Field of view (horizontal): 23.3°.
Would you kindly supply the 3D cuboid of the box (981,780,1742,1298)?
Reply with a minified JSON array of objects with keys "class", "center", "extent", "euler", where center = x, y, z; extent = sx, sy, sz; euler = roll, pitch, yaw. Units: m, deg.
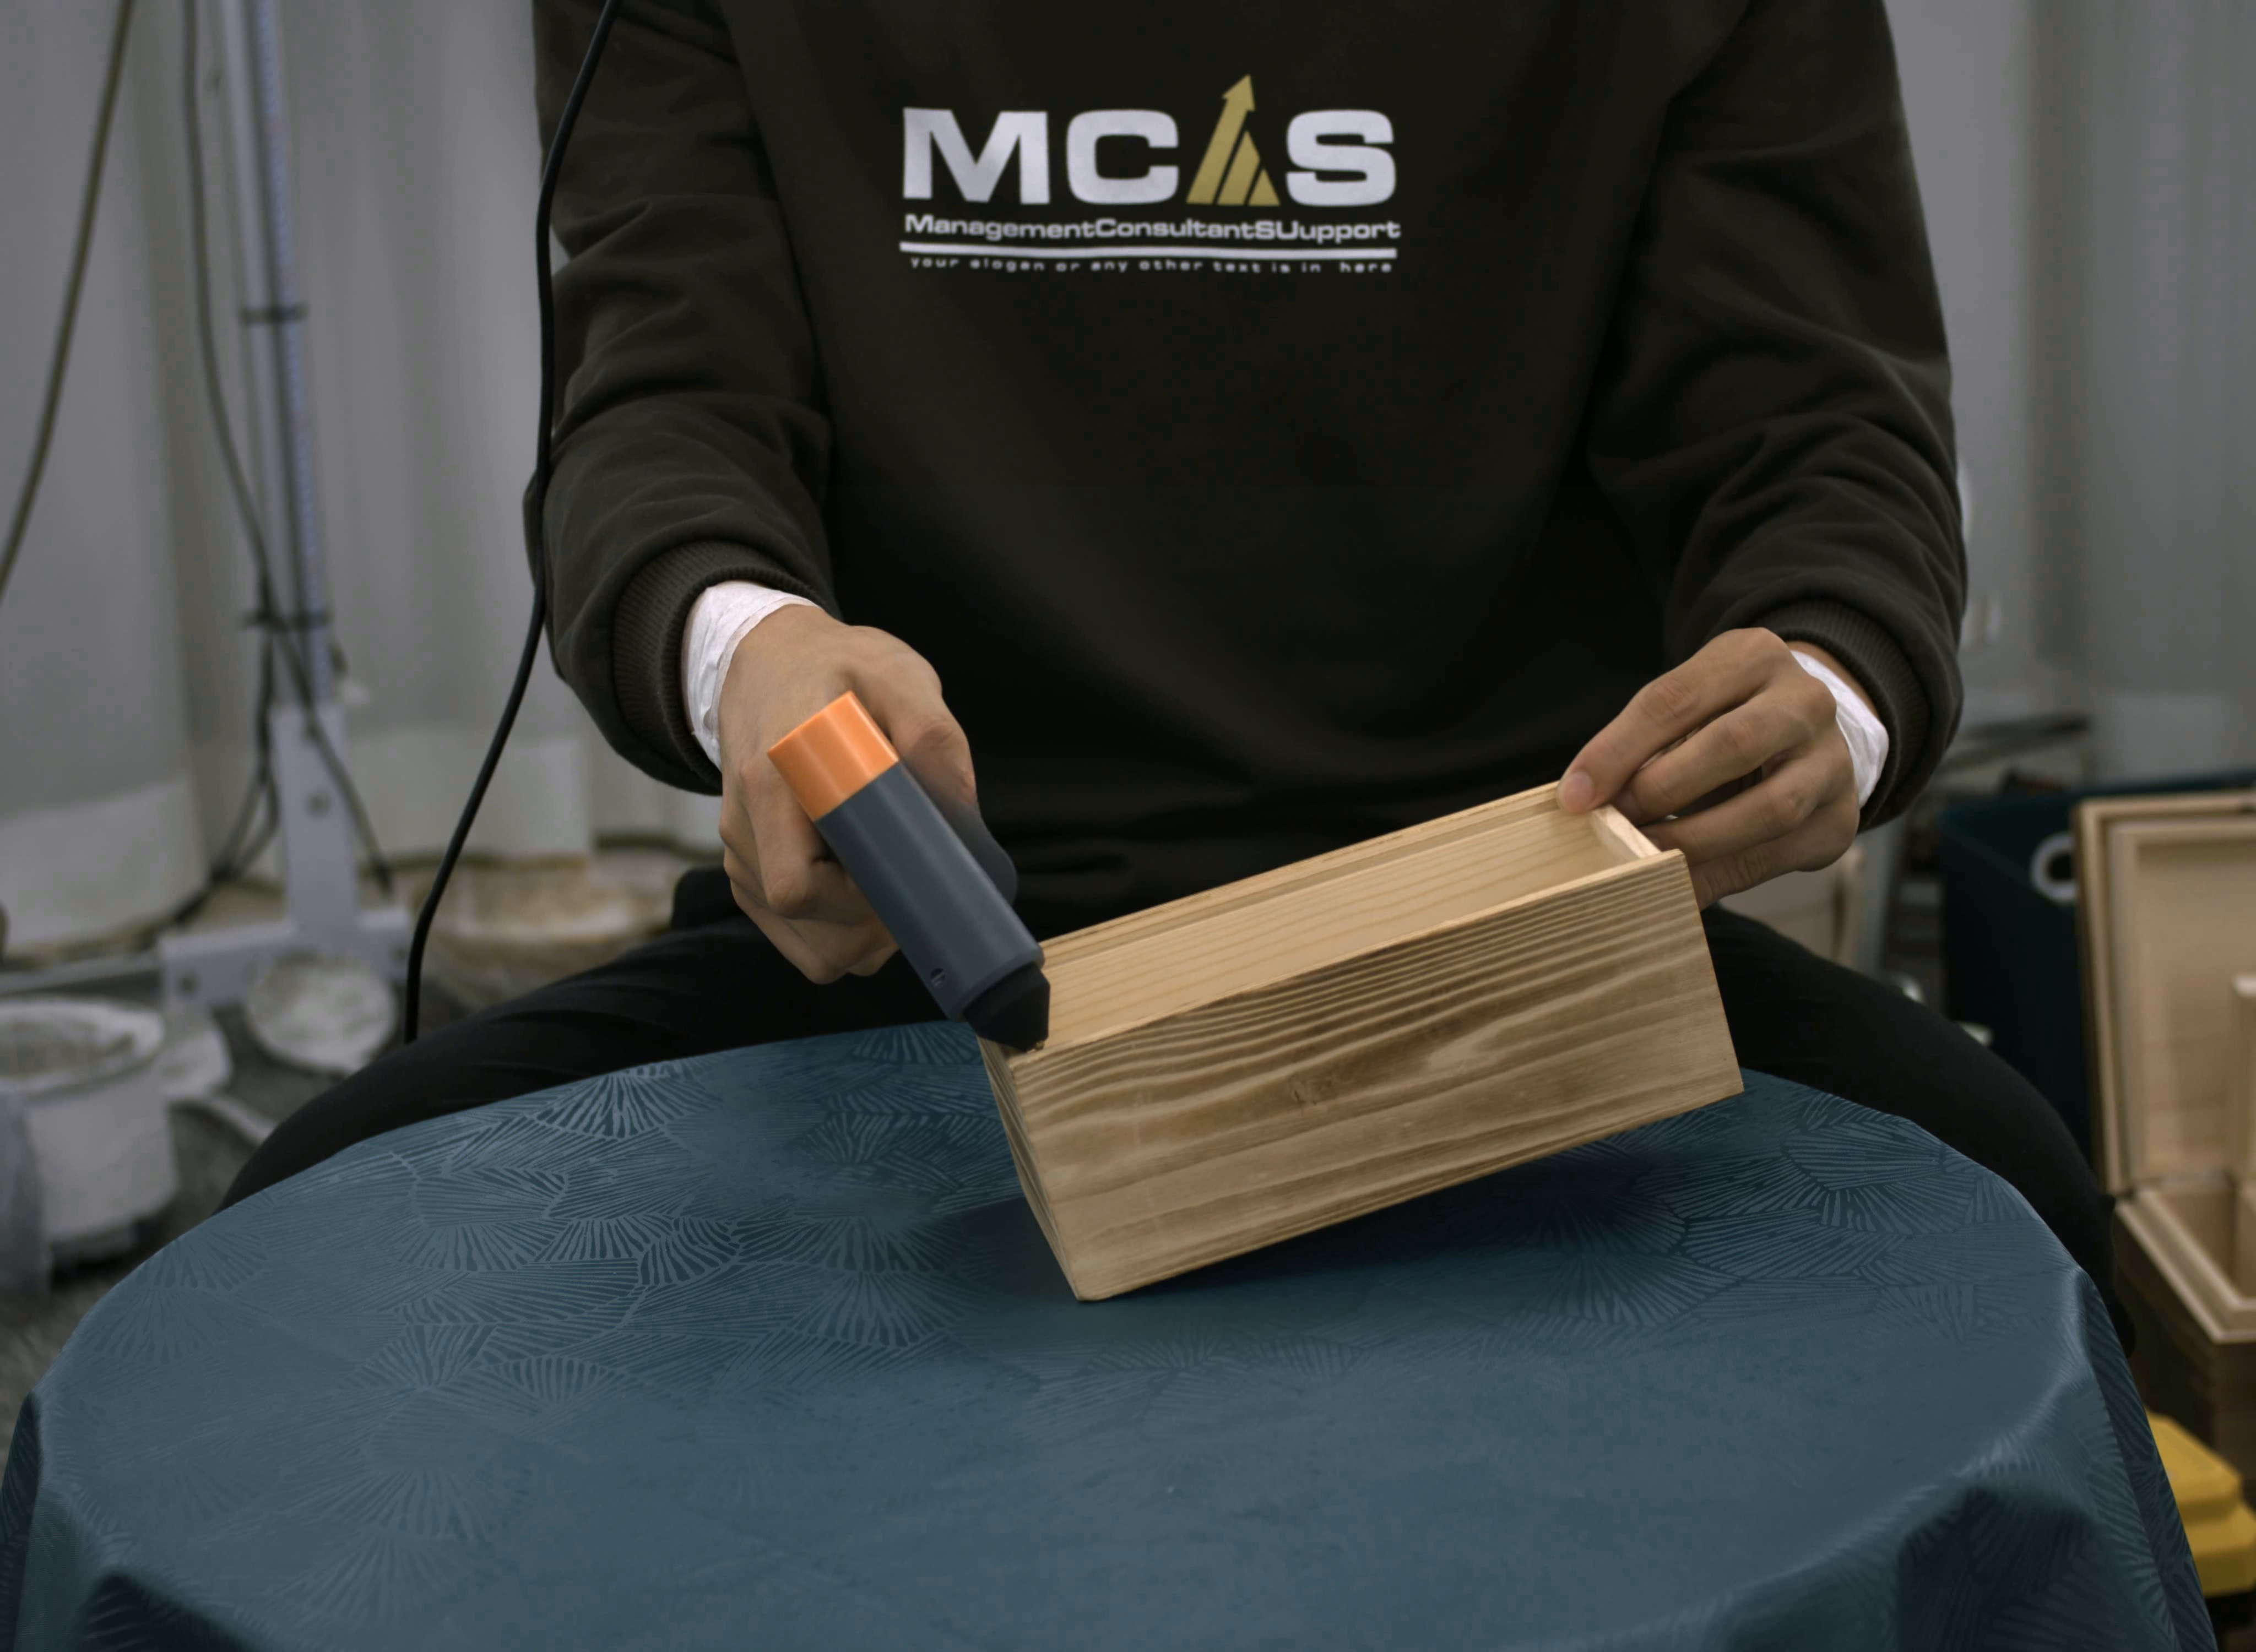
[{"class":"box","center":[0.066,0.063,1.667],"extent":[0.211,0.080,0.108],"euler":[-17,15,-6]}]

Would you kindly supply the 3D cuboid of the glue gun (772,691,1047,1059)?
[{"class":"glue gun","center":[-0.062,0.014,1.662],"extent":[0.041,0.118,0.140],"euler":[-34,4,1]}]
